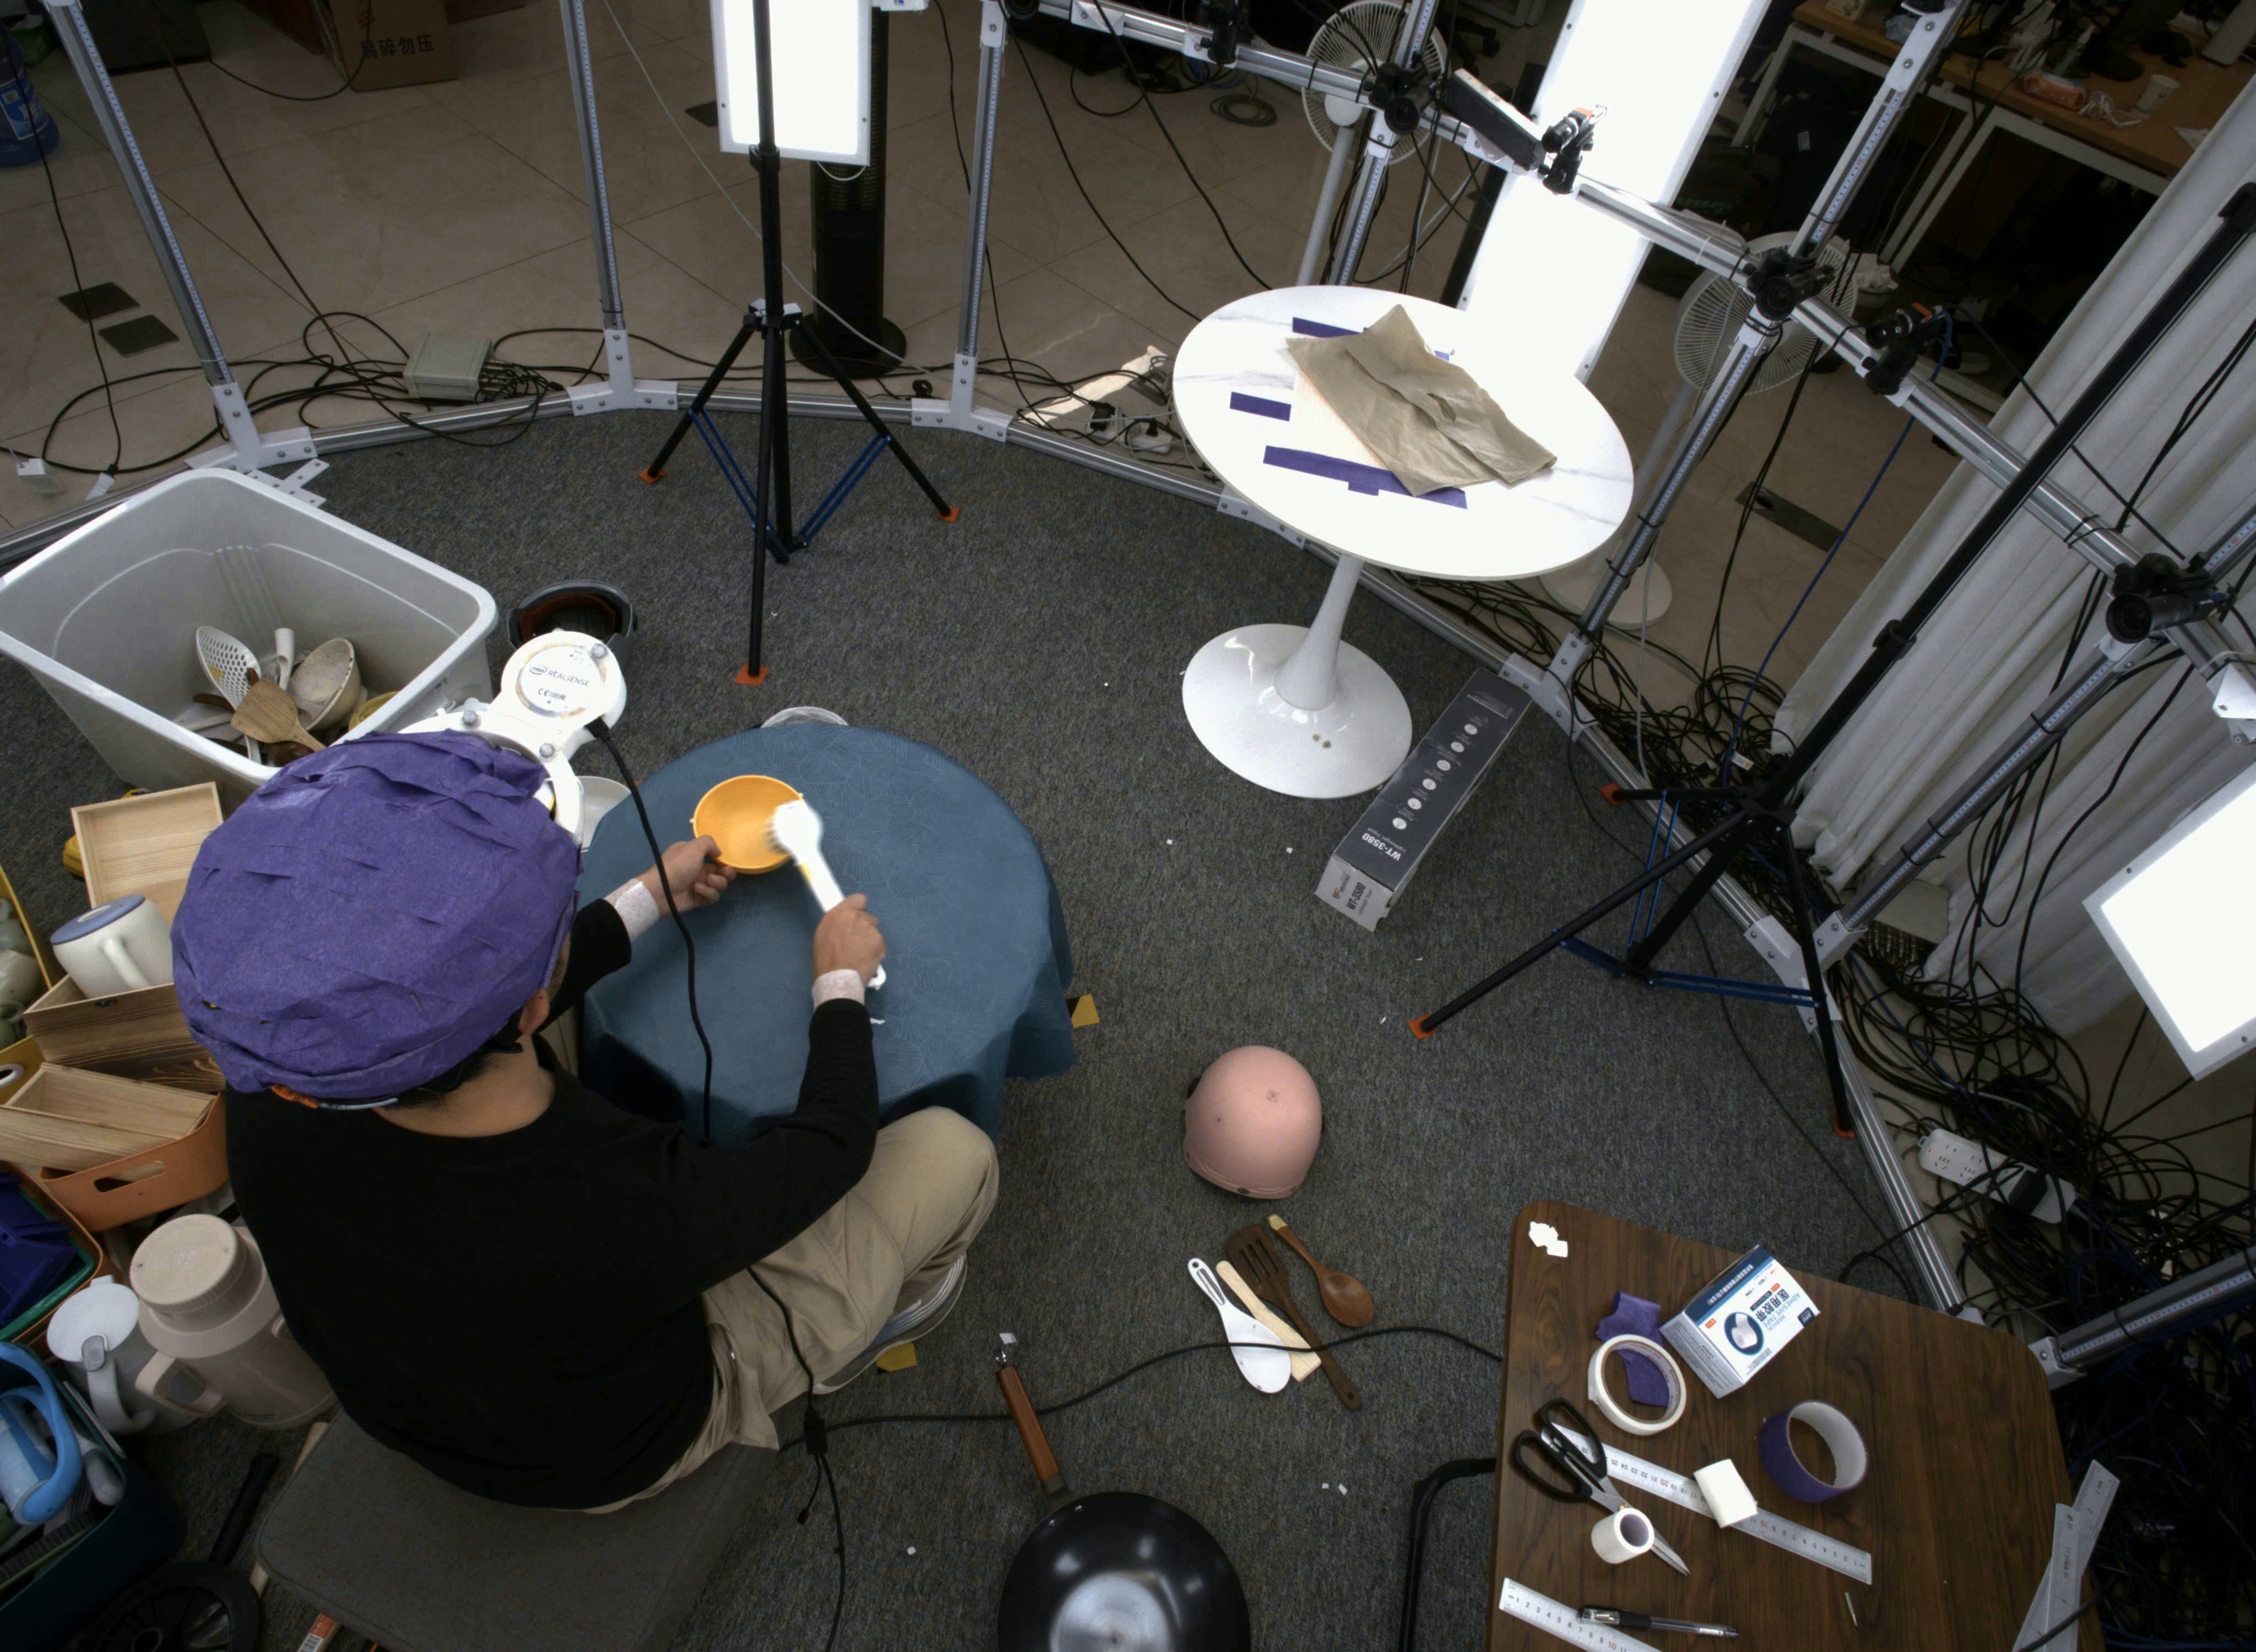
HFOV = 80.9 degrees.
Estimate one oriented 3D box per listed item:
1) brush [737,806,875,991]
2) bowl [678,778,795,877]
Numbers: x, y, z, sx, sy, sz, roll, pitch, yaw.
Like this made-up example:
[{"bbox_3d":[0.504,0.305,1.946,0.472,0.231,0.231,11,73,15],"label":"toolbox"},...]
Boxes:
[{"bbox_3d":[-0.390,0.093,1.581,0.069,0.056,0.265,-30,82,-32],"label":"brush"},{"bbox_3d":[-0.497,0.012,1.652,0.145,0.061,0.143,6,55,-7],"label":"bowl"}]
